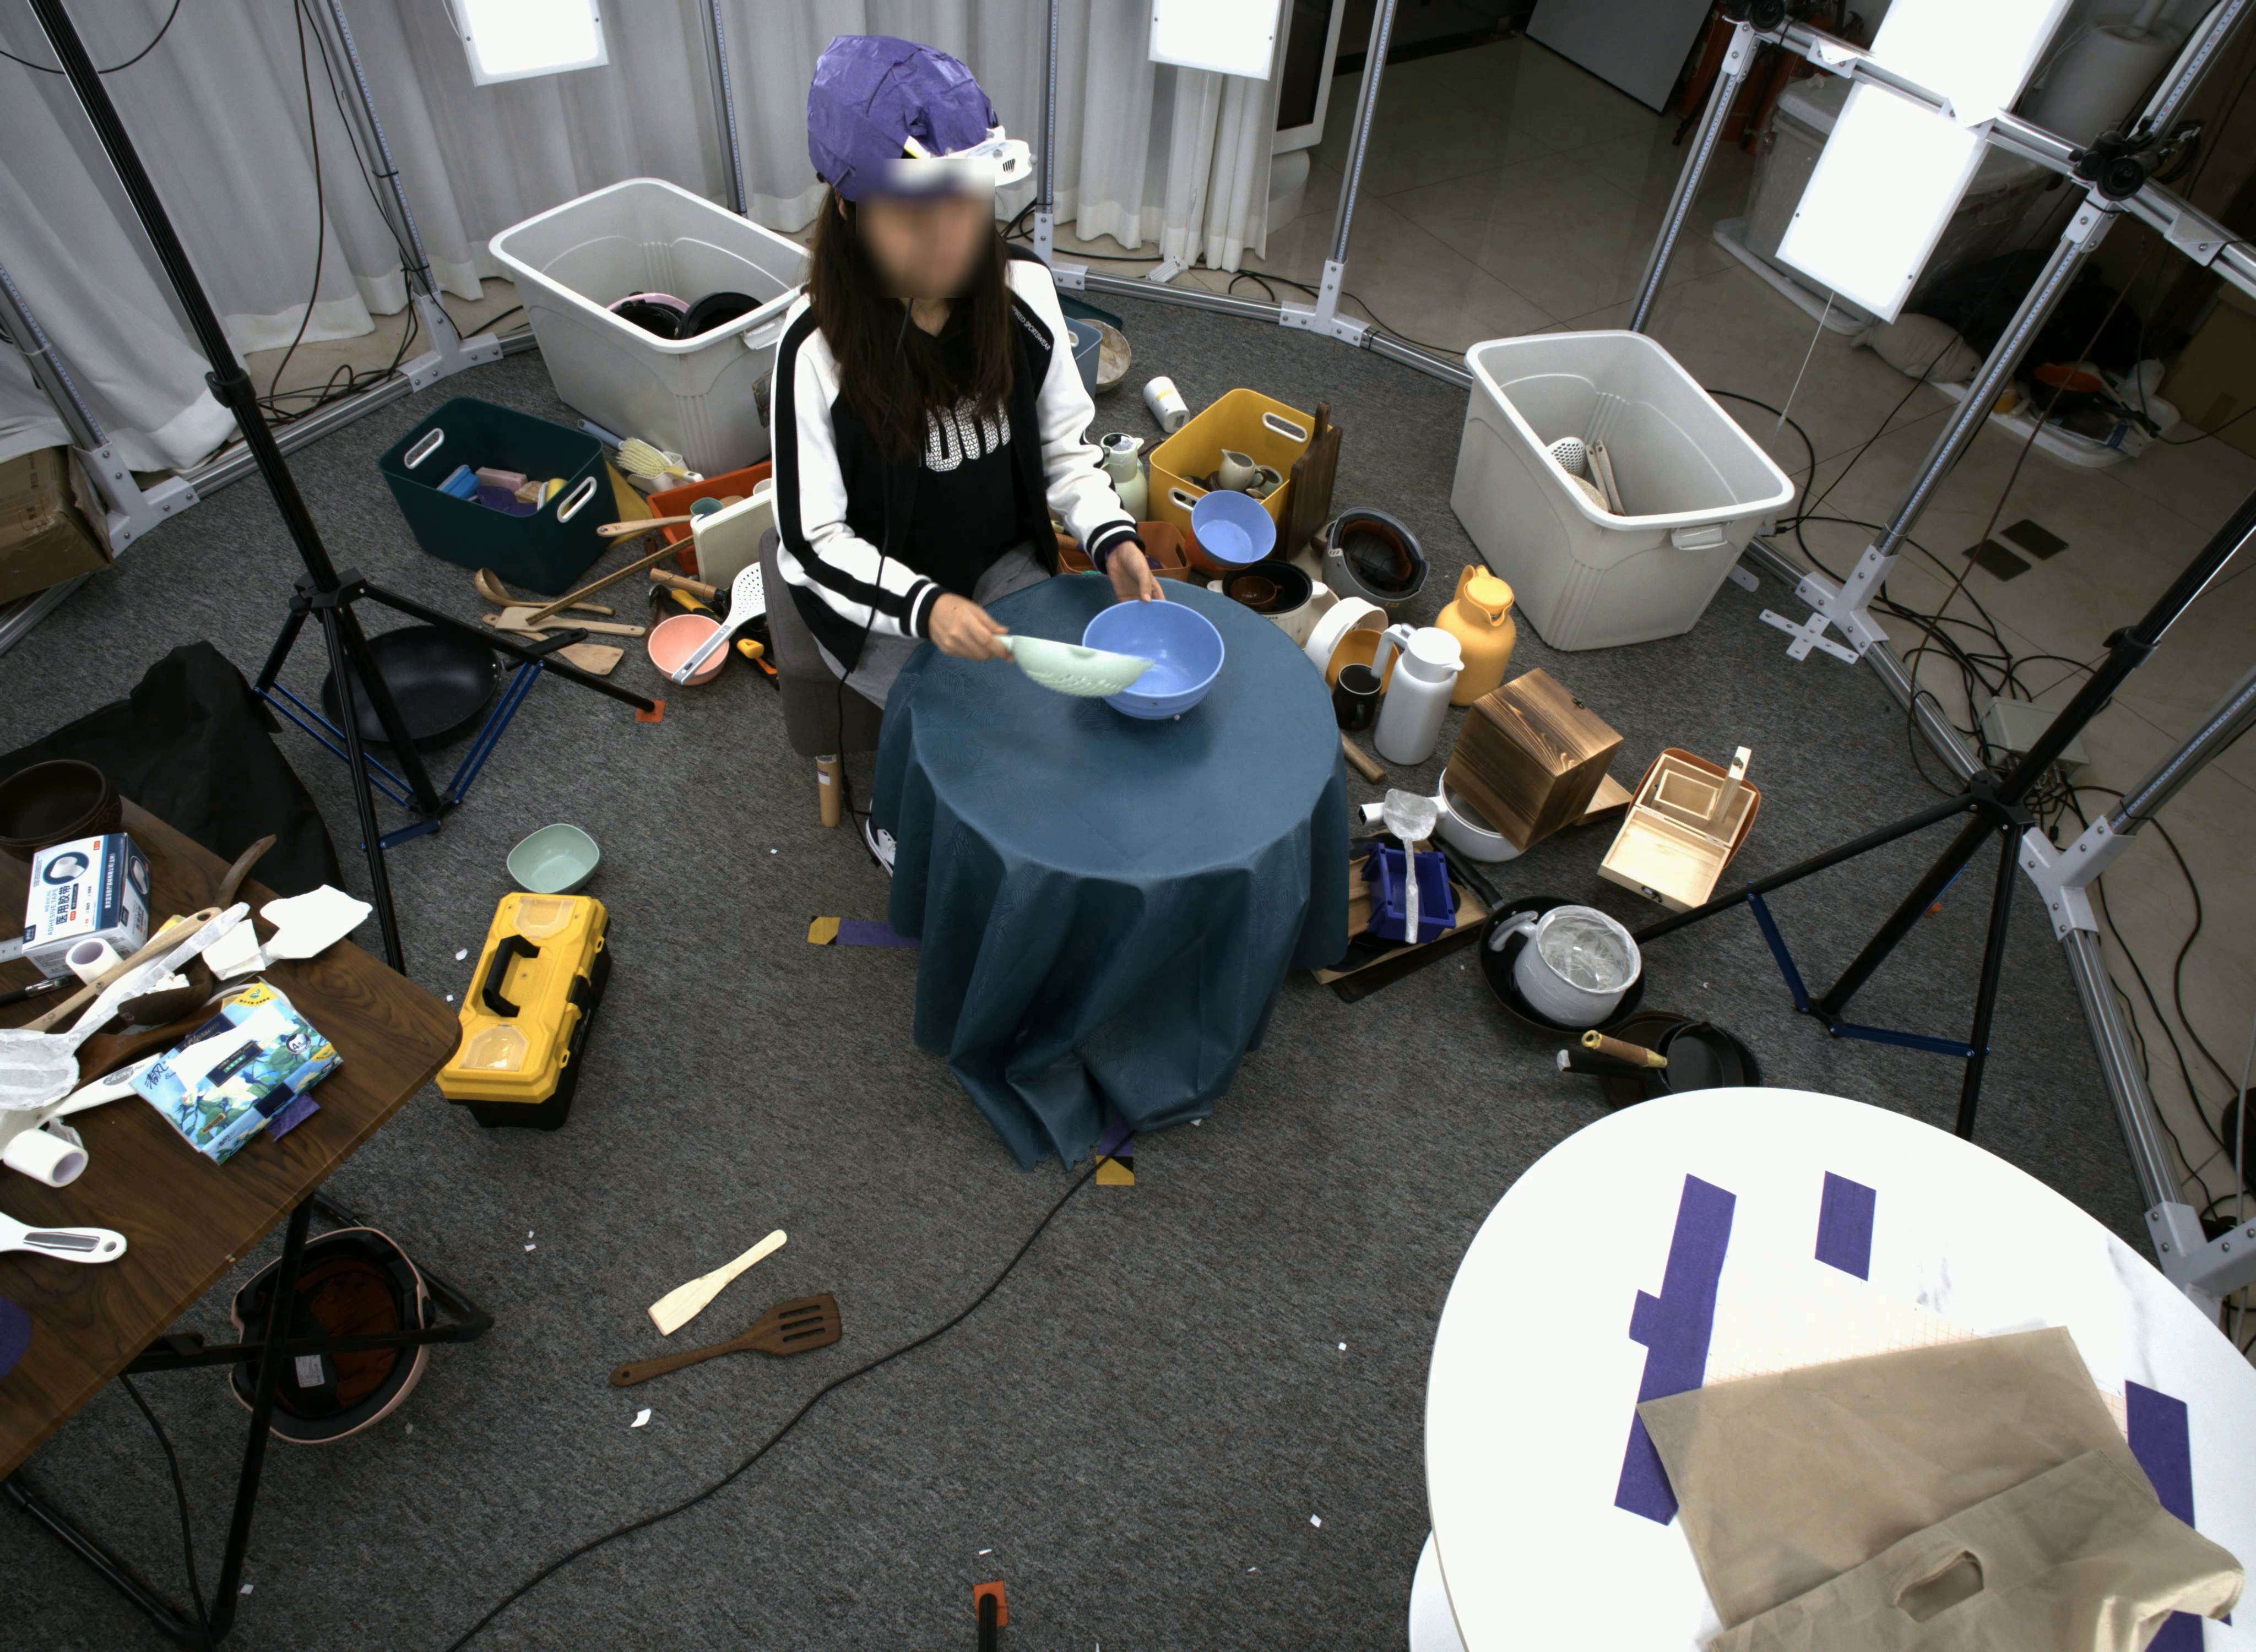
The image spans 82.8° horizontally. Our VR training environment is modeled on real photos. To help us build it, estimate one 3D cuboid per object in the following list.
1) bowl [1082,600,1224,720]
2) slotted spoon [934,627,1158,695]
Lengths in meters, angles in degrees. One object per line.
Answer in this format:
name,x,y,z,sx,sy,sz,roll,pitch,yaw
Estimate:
bowl,0.032,-0.217,1.800,0.196,0.093,0.201,1,49,-2
slotted spoon,-0.129,-0.226,1.641,0.364,0.075,0.168,25,16,40
